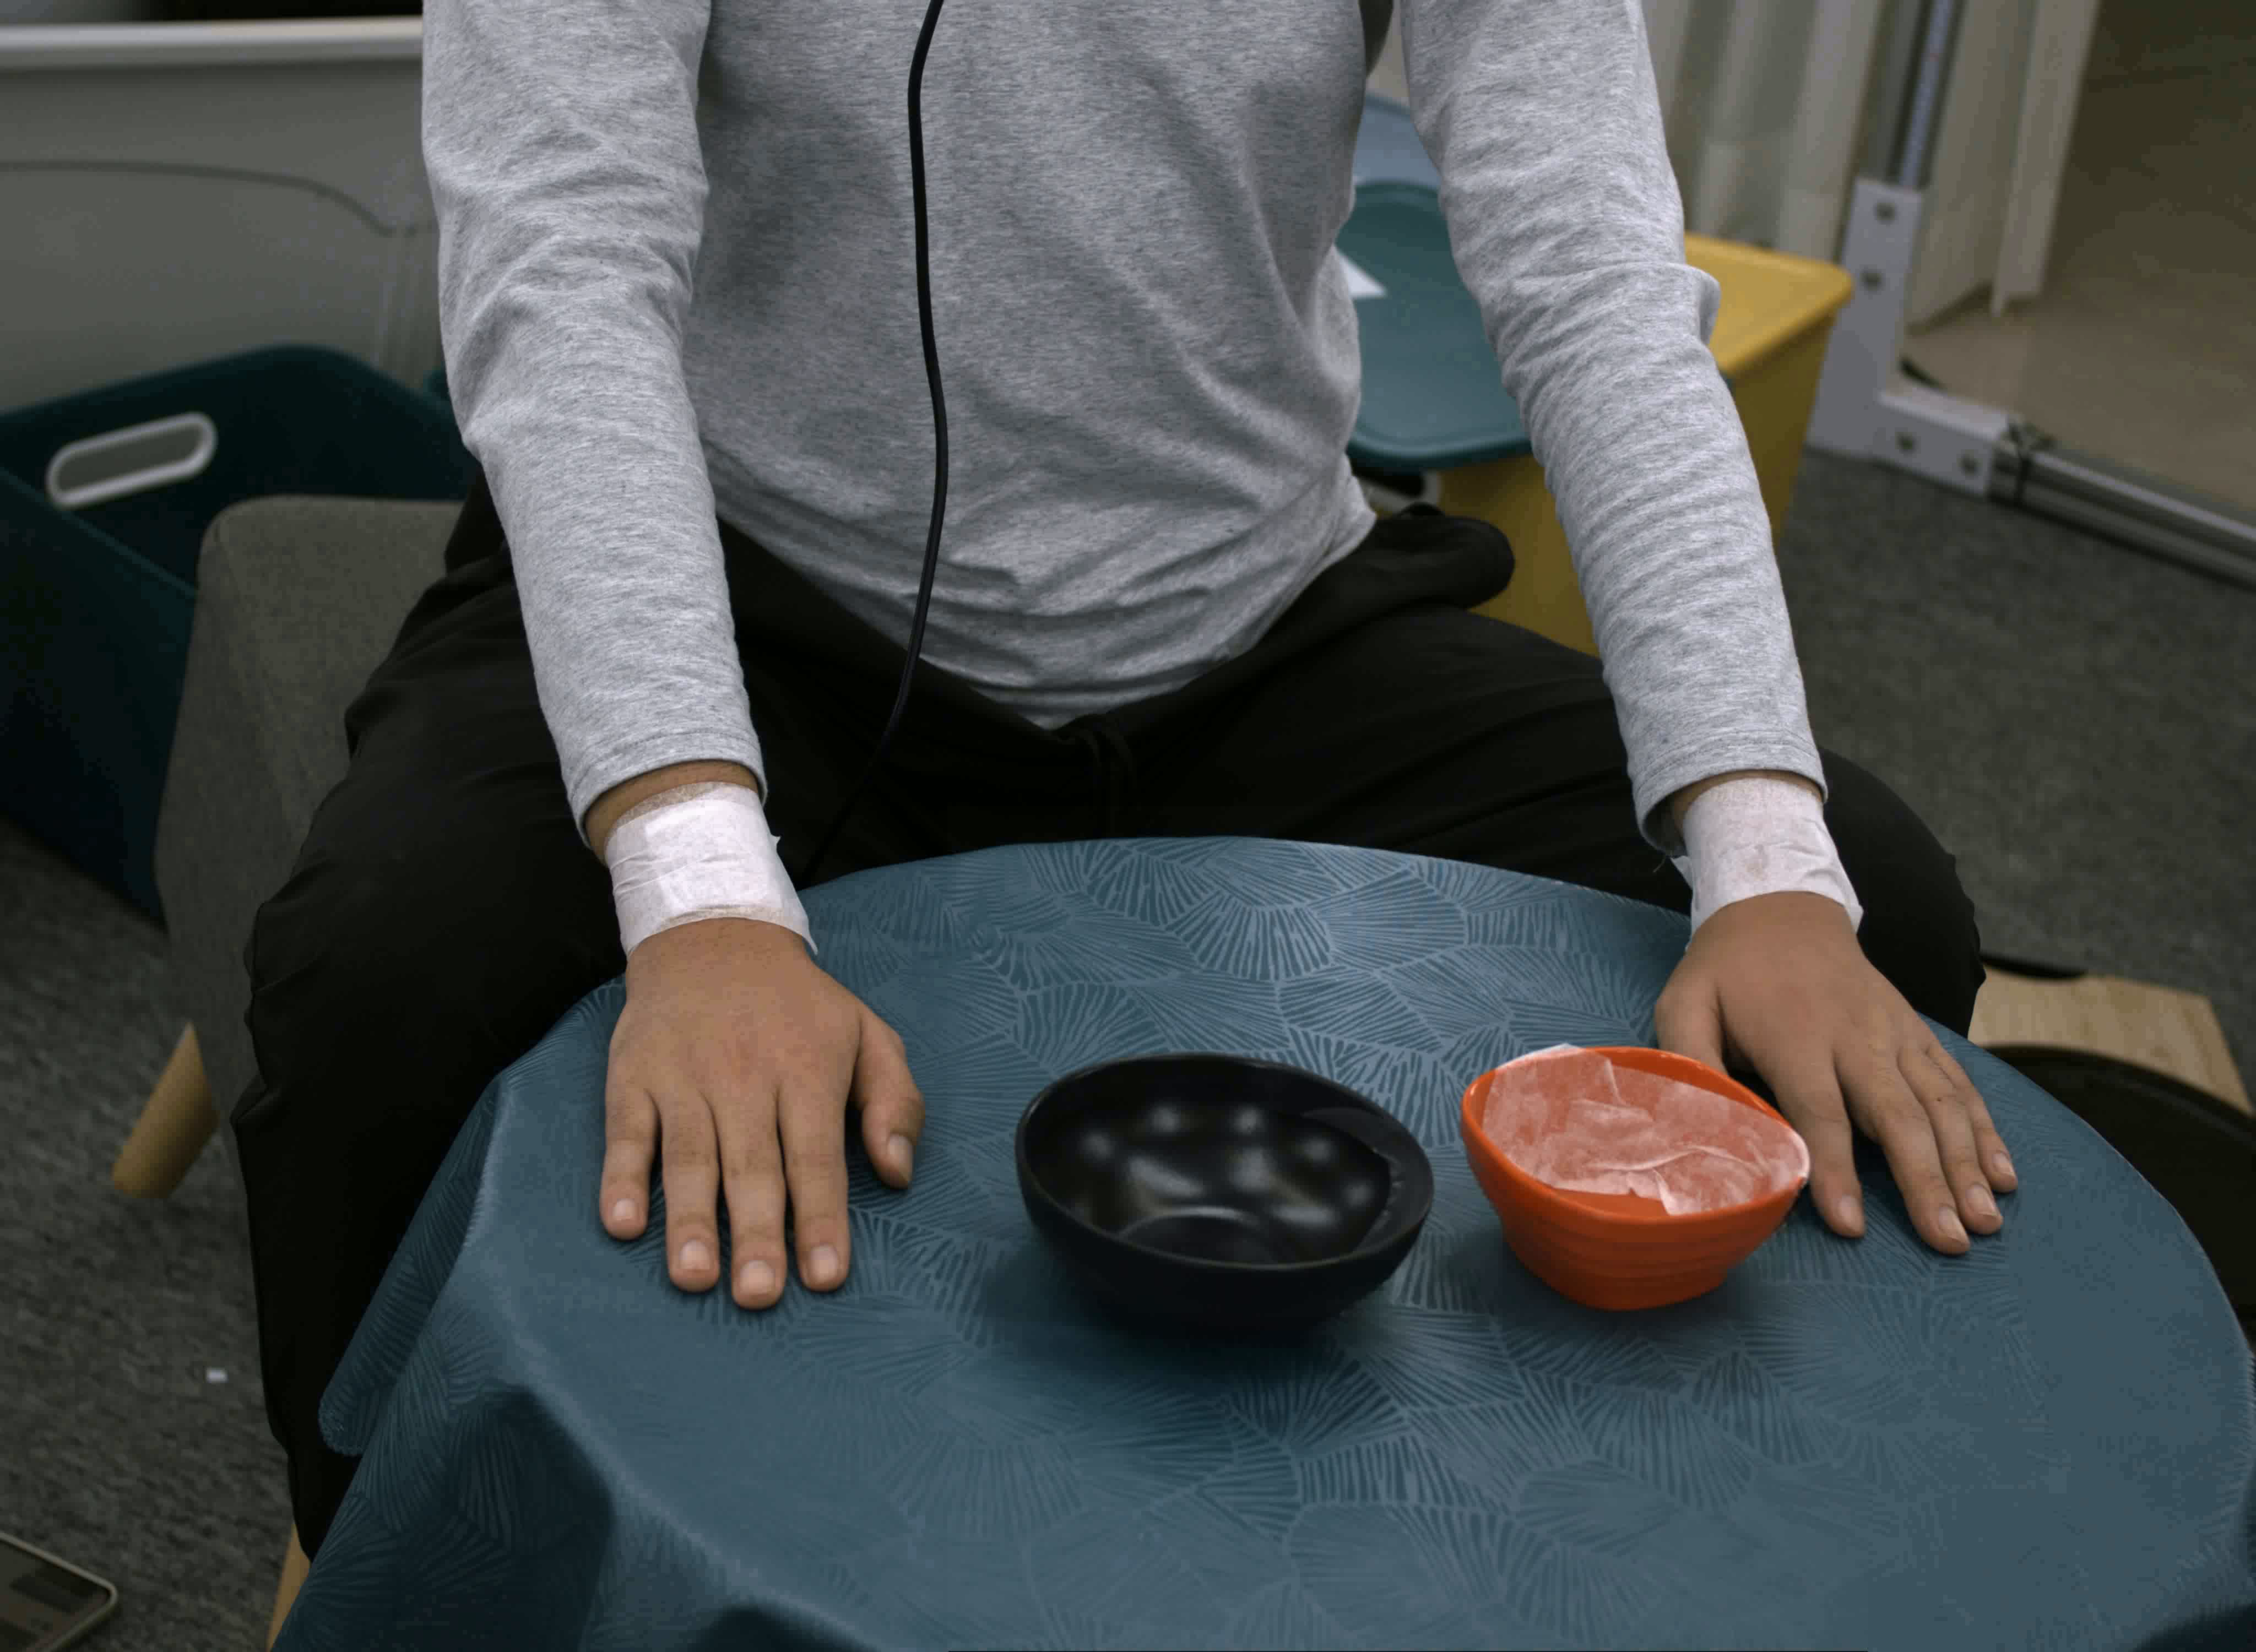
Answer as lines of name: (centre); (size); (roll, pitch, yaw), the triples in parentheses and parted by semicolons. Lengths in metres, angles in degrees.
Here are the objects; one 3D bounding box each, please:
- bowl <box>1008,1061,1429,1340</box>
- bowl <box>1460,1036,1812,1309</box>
bowl: (0.027, 0.130, 1.748); (0.139, 0.049, 0.141); (5, 24, -3)
bowl: (0.167, 0.121, 1.789); (0.118, 0.051, 0.119); (5, 29, -3)
